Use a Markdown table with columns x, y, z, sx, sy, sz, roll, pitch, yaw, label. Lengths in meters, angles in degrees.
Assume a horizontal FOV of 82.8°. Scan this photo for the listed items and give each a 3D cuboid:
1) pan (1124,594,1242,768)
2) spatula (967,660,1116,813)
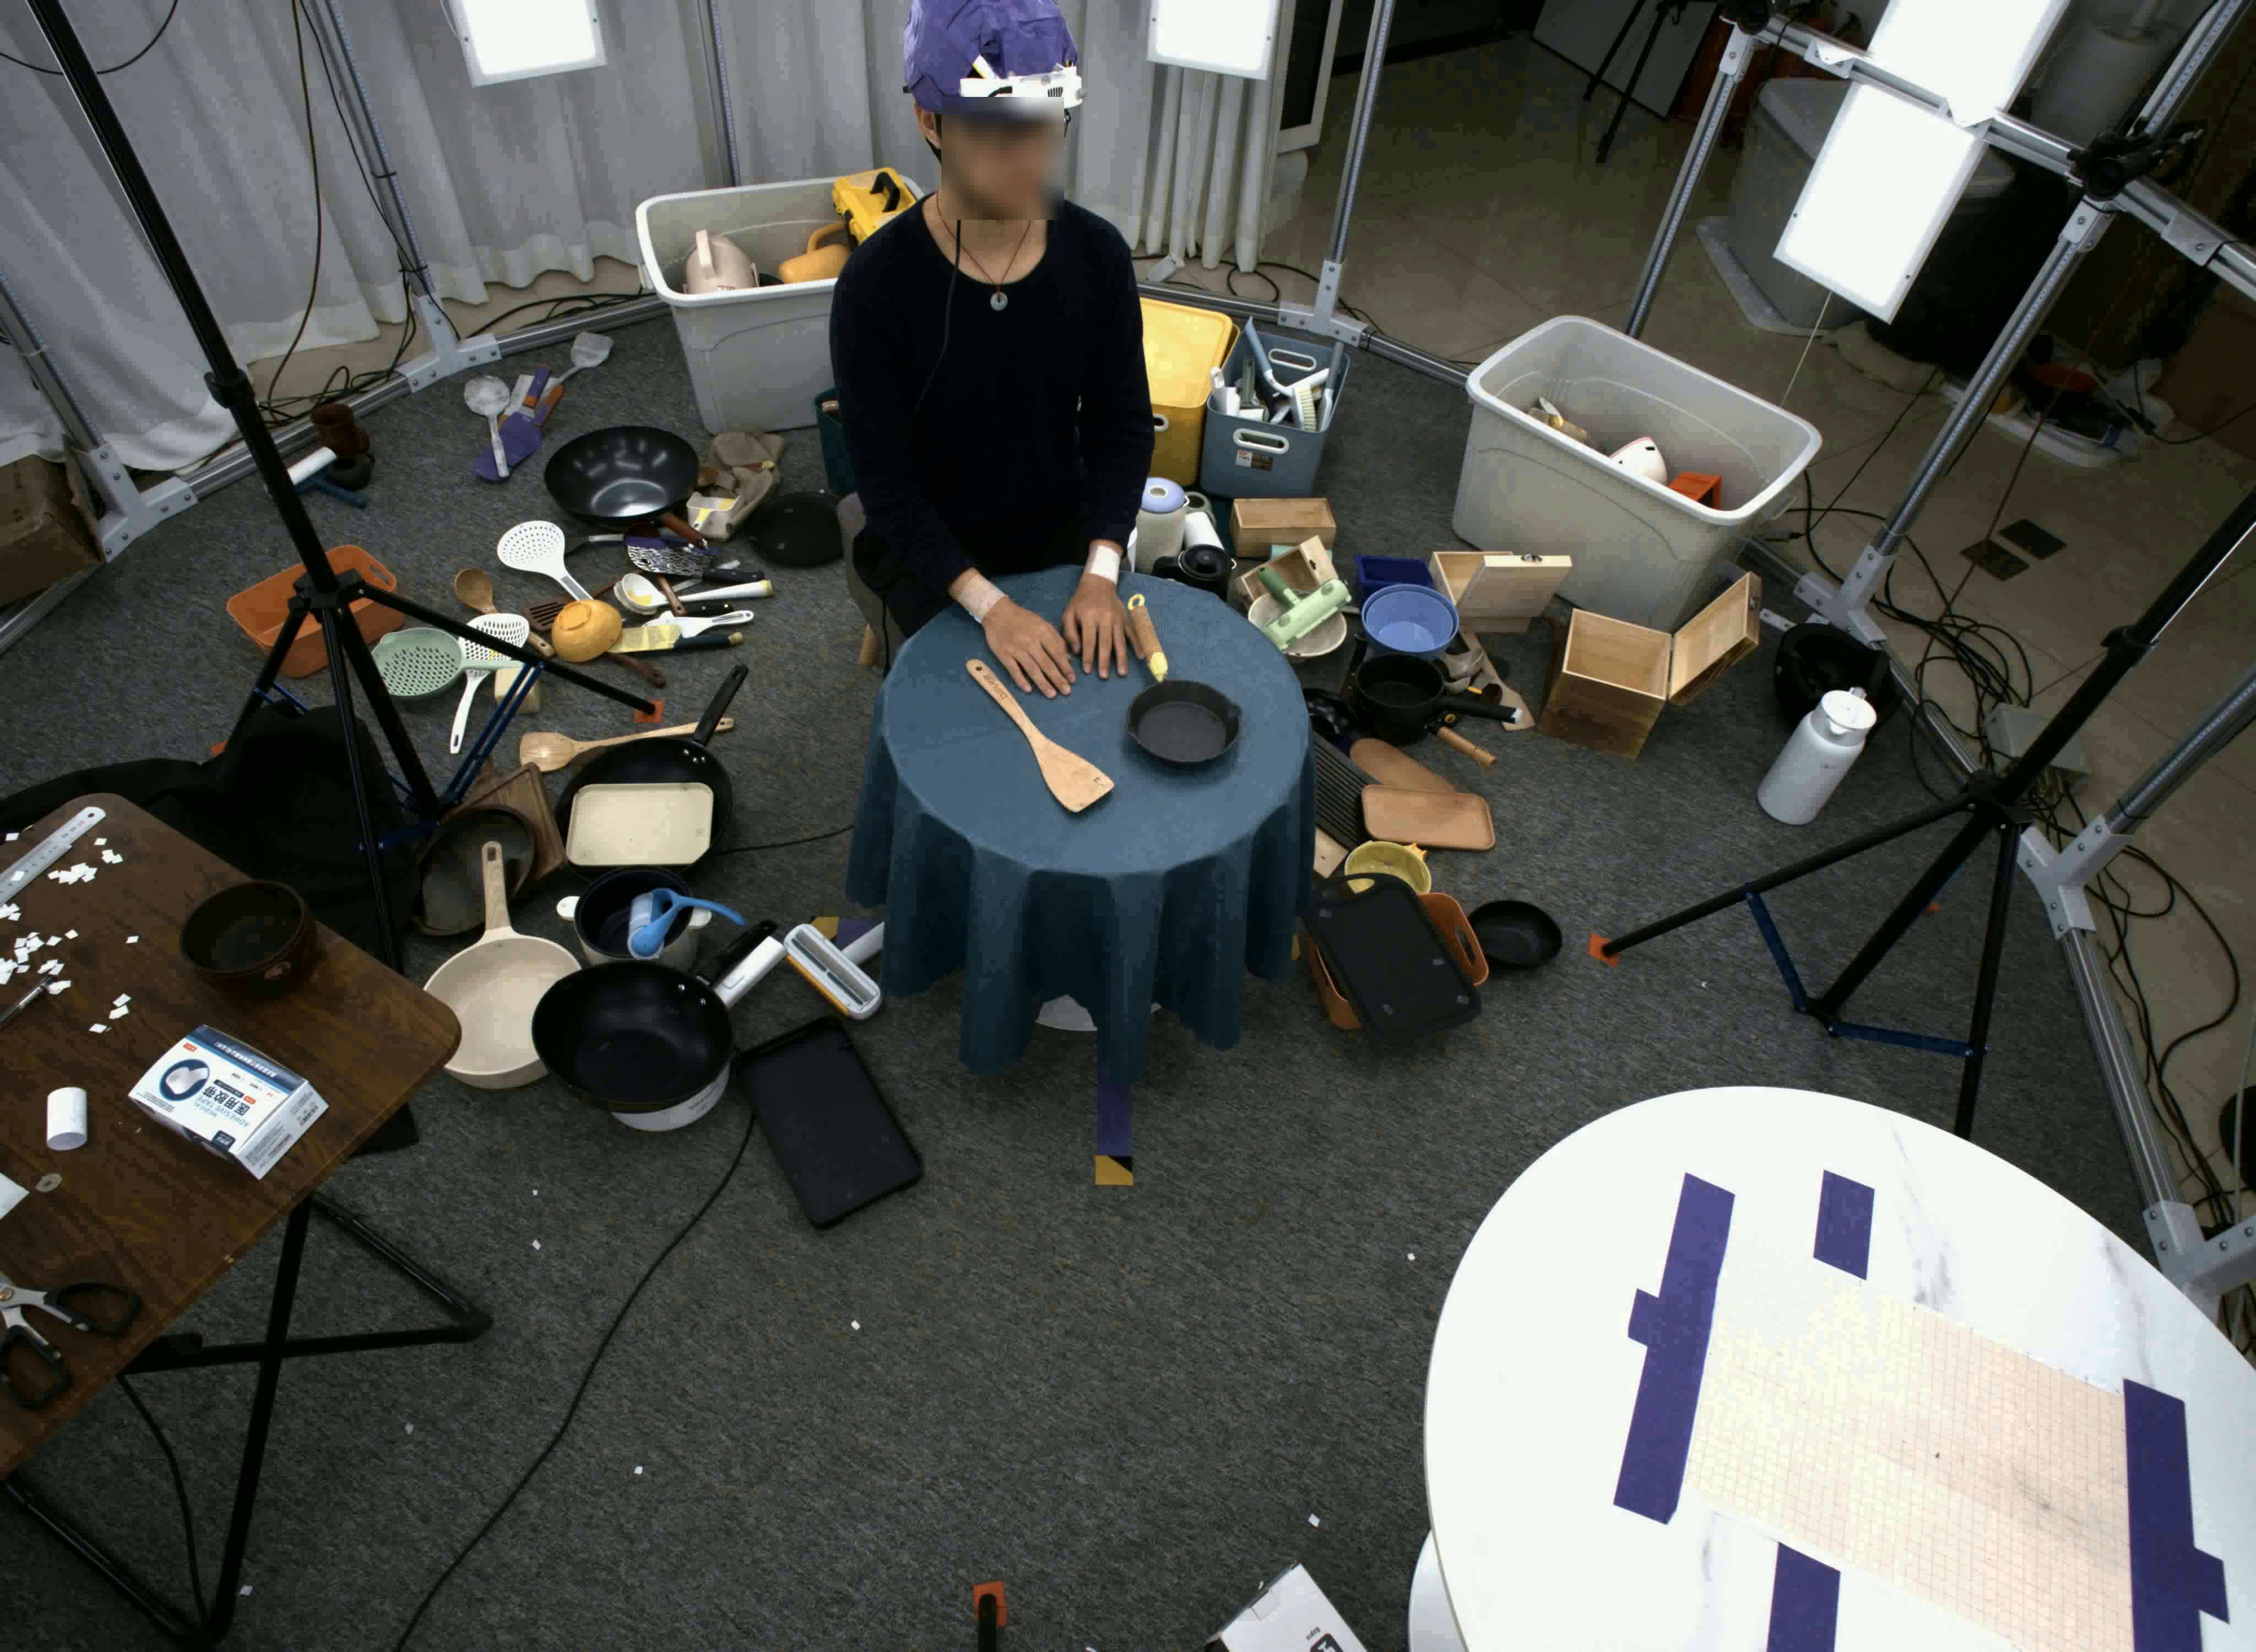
| x | y | z | sx | sy | sz | roll | pitch | yaw | label |
| --- | --- | --- | --- | --- | --- | --- | --- | --- | --- |
| 0.054 | -0.207 | 1.819 | 0.169 | 0.048 | 0.332 | -9 | 52 | -12 | pan |
| -0.131 | -0.133 | 1.765 | 0.080 | 0.016 | 0.334 | -25 | 55 | -24 | spatula |
